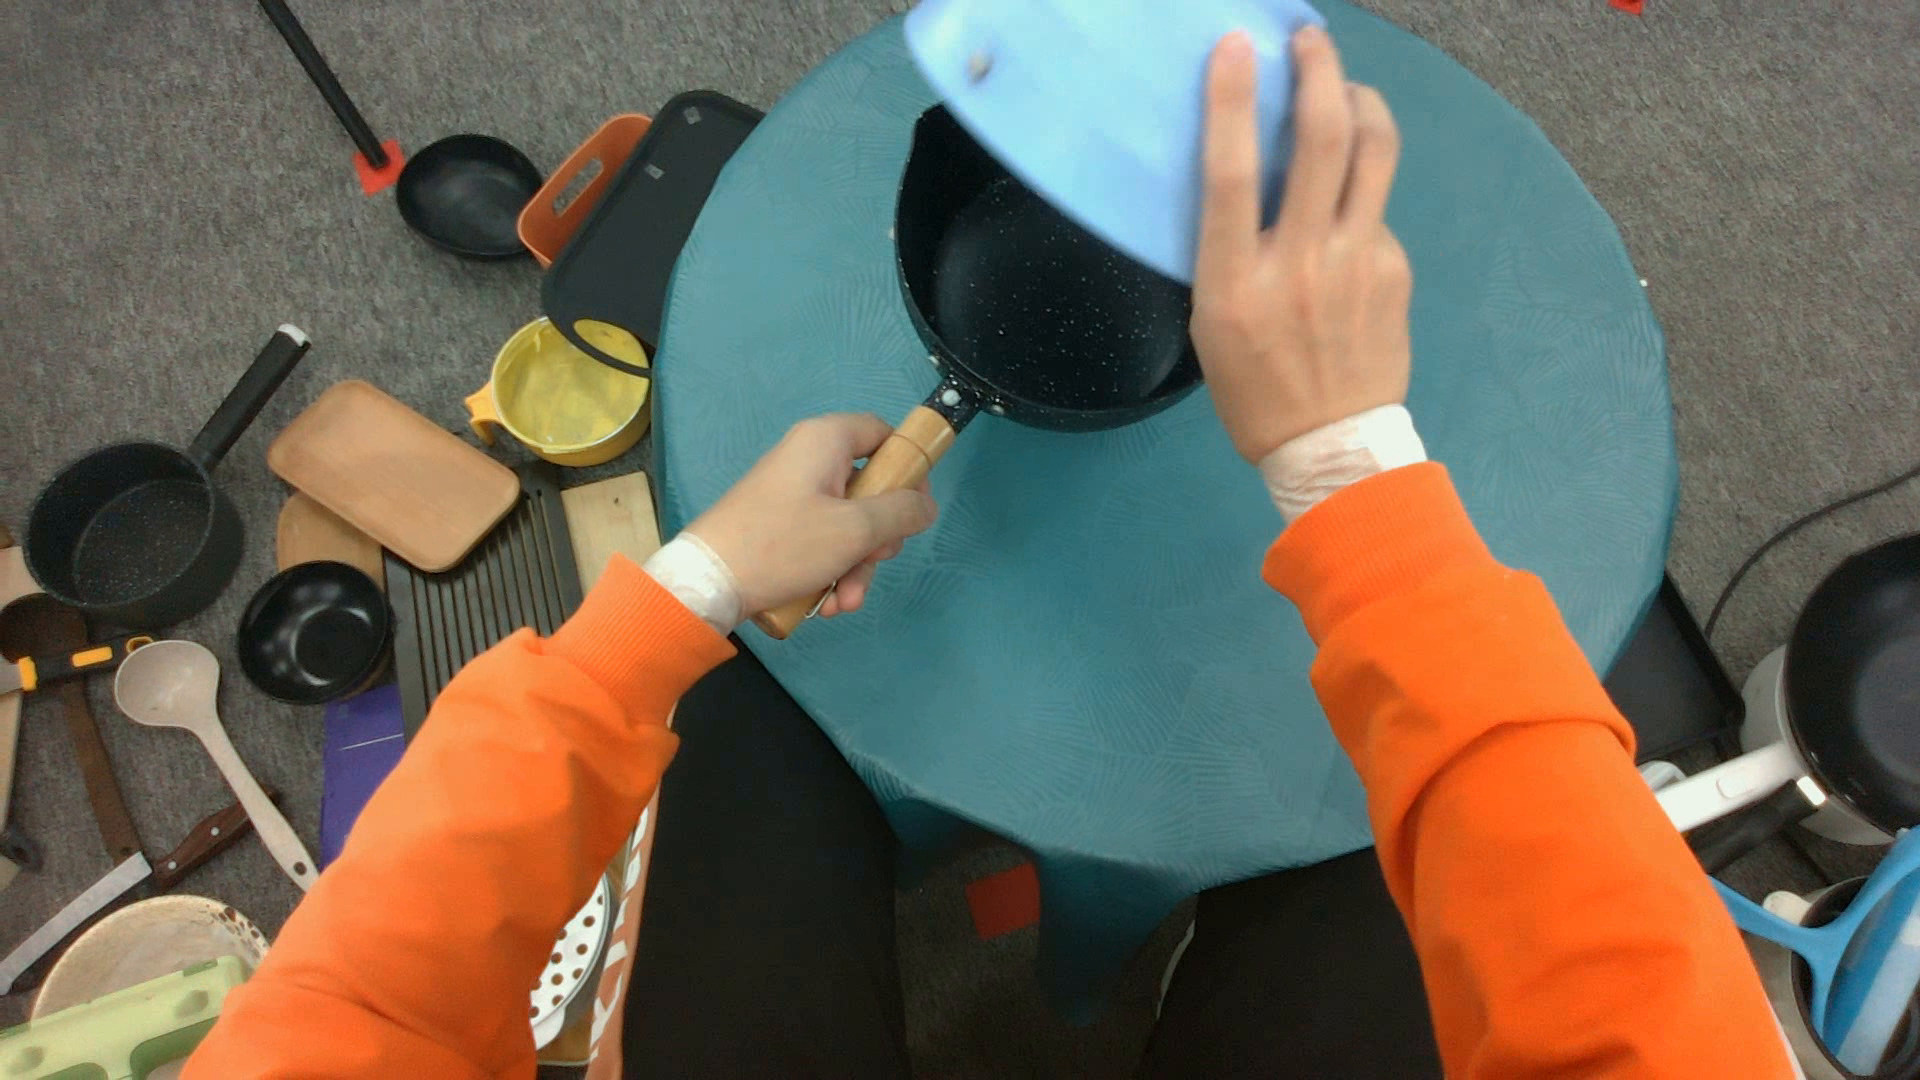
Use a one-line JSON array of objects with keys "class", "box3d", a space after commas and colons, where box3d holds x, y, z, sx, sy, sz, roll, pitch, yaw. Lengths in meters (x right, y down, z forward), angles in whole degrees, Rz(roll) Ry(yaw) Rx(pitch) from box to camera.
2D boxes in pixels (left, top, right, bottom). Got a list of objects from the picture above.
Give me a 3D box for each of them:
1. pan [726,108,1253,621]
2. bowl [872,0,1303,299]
[{"class": "pan", "box3d": [0.007, -0.089, 0.685, 0.207, 0.108, 0.343, 36, 77, 4]}, {"class": "bowl", "box3d": [0.071, -0.199, 0.587, 0.196, 0.095, 0.197, 23, 33, -16]}]
